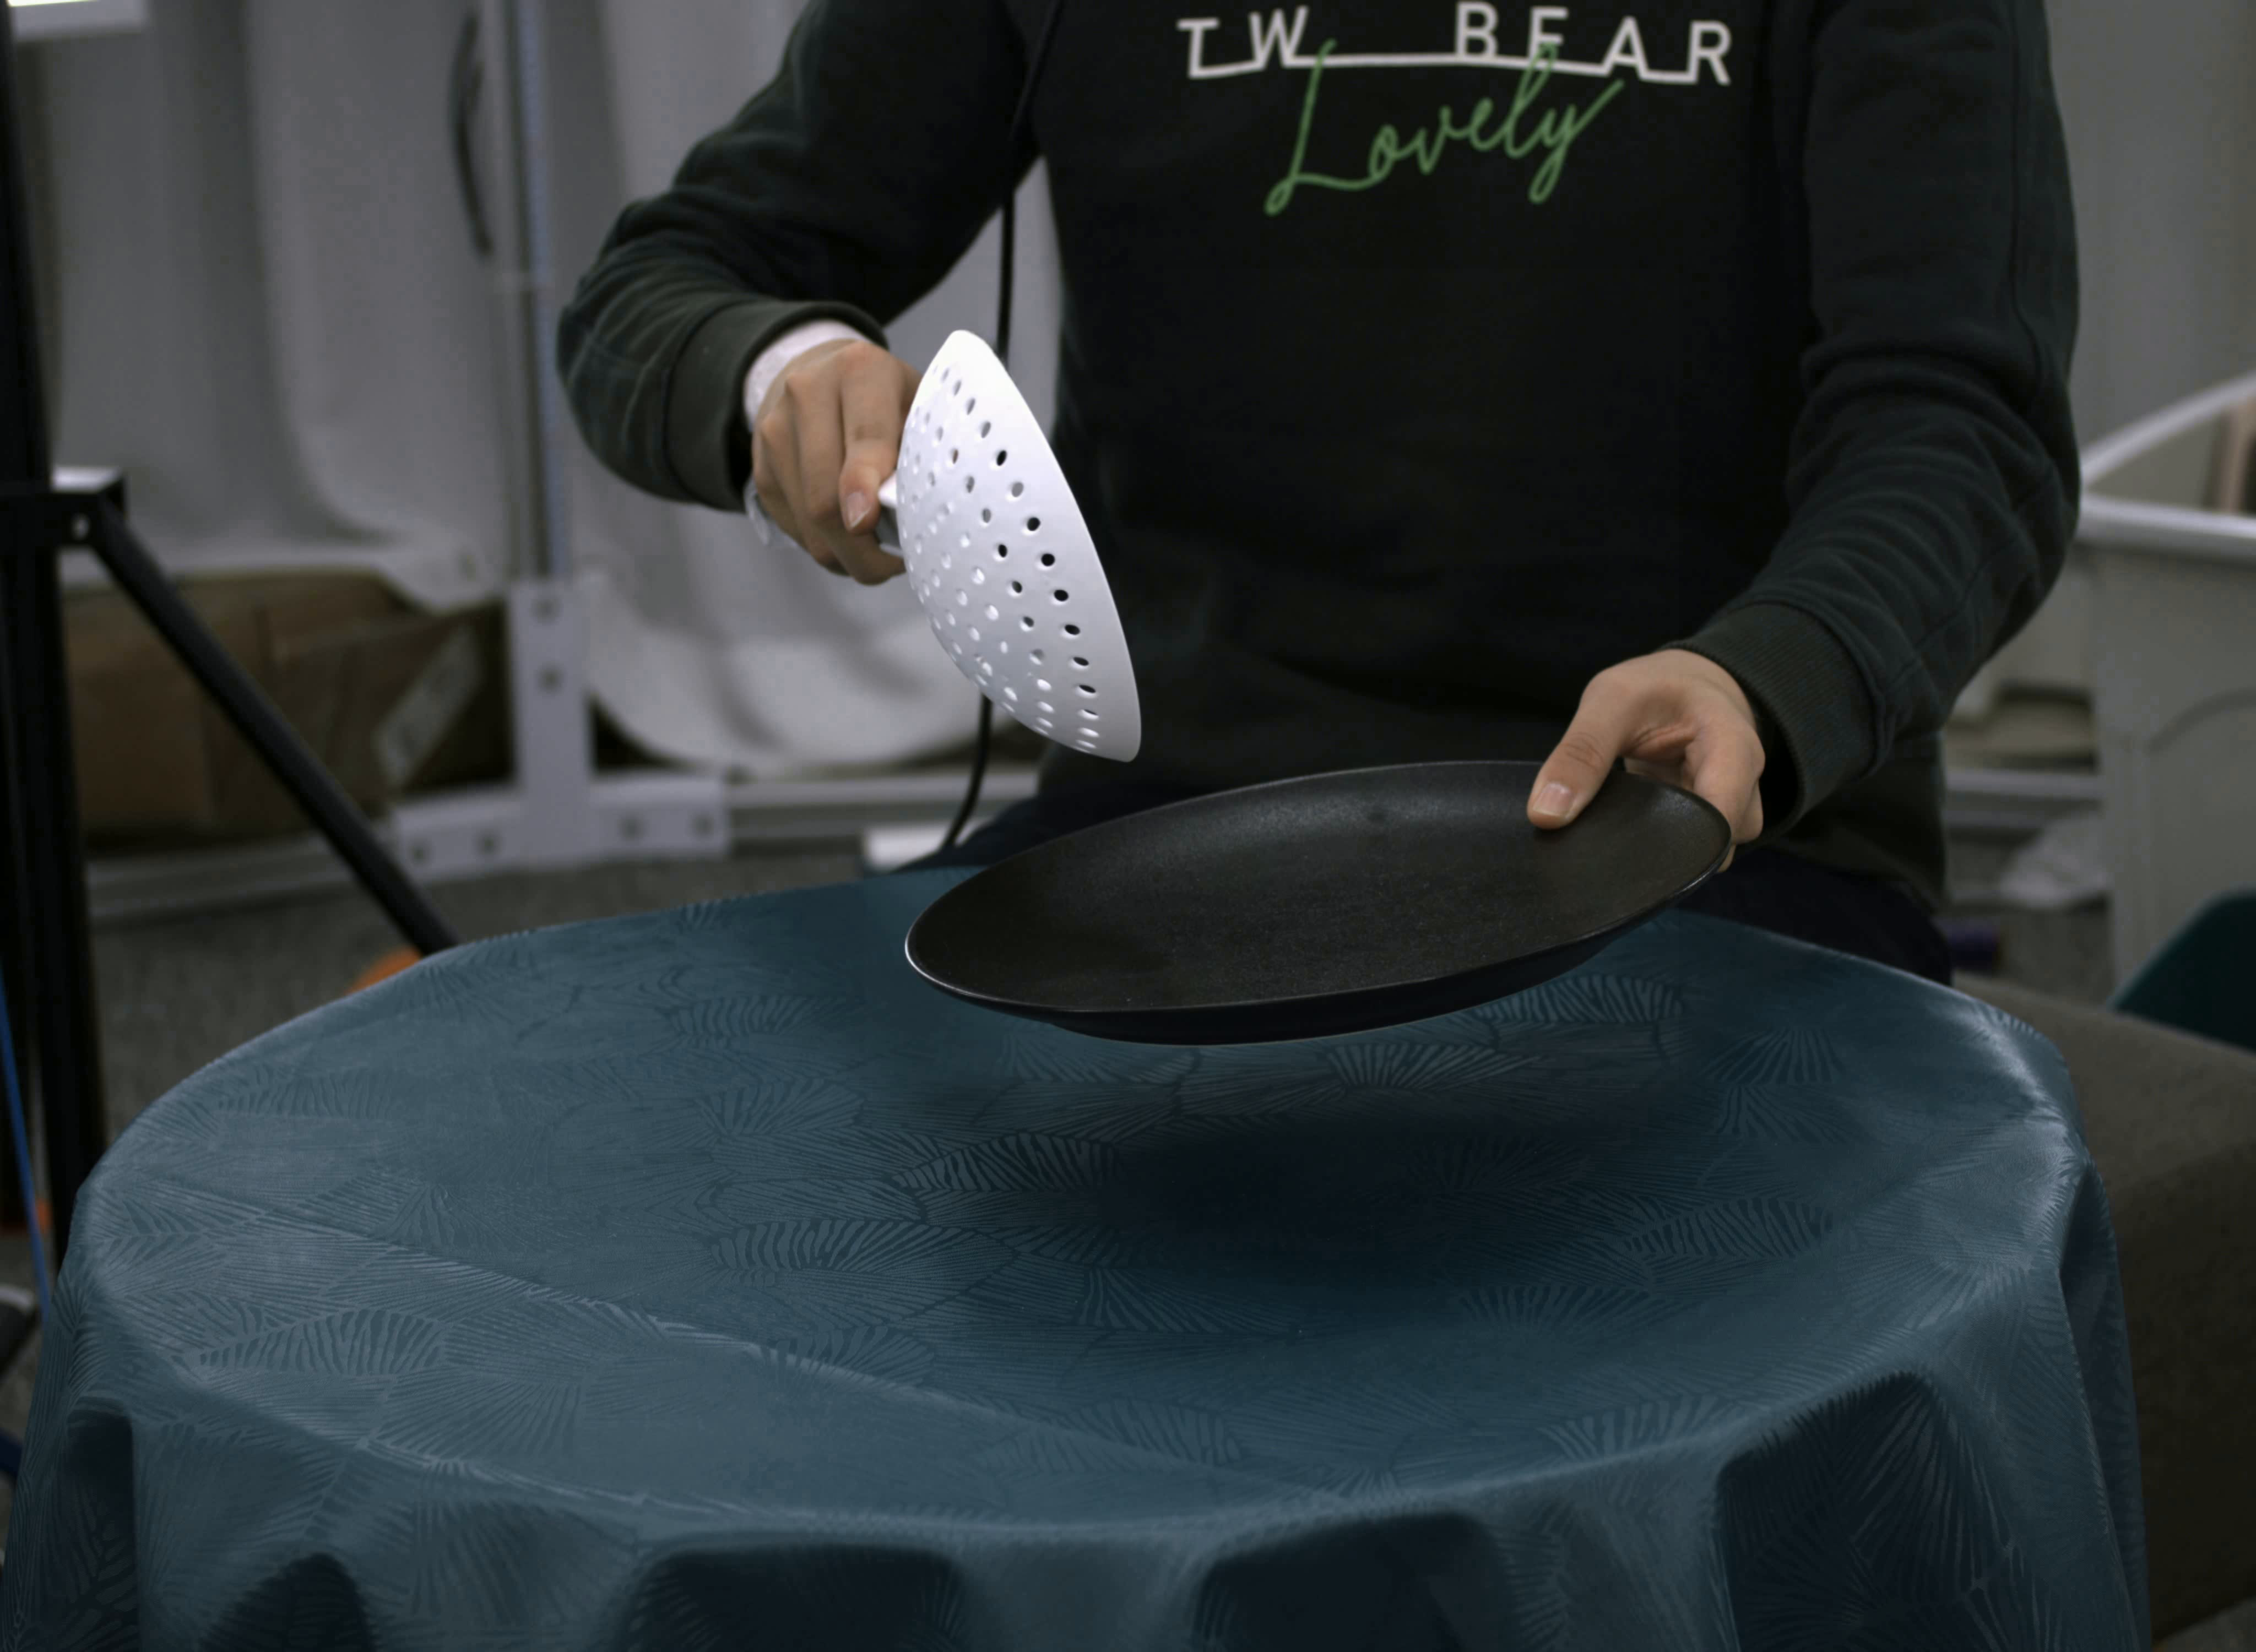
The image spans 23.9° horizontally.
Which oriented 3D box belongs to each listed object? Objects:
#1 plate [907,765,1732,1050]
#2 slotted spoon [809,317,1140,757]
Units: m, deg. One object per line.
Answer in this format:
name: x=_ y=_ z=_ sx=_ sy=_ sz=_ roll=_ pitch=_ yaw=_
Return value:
plate: x=0.057 y=0.026 z=1.553 sx=0.243 sy=0.023 sz=0.245 roll=-9 pitch=15 yaw=1
slotted spoon: x=-0.058 y=-0.094 z=1.672 sx=0.045 sy=0.136 sz=0.353 roll=-20 pitch=11 yaw=-7
